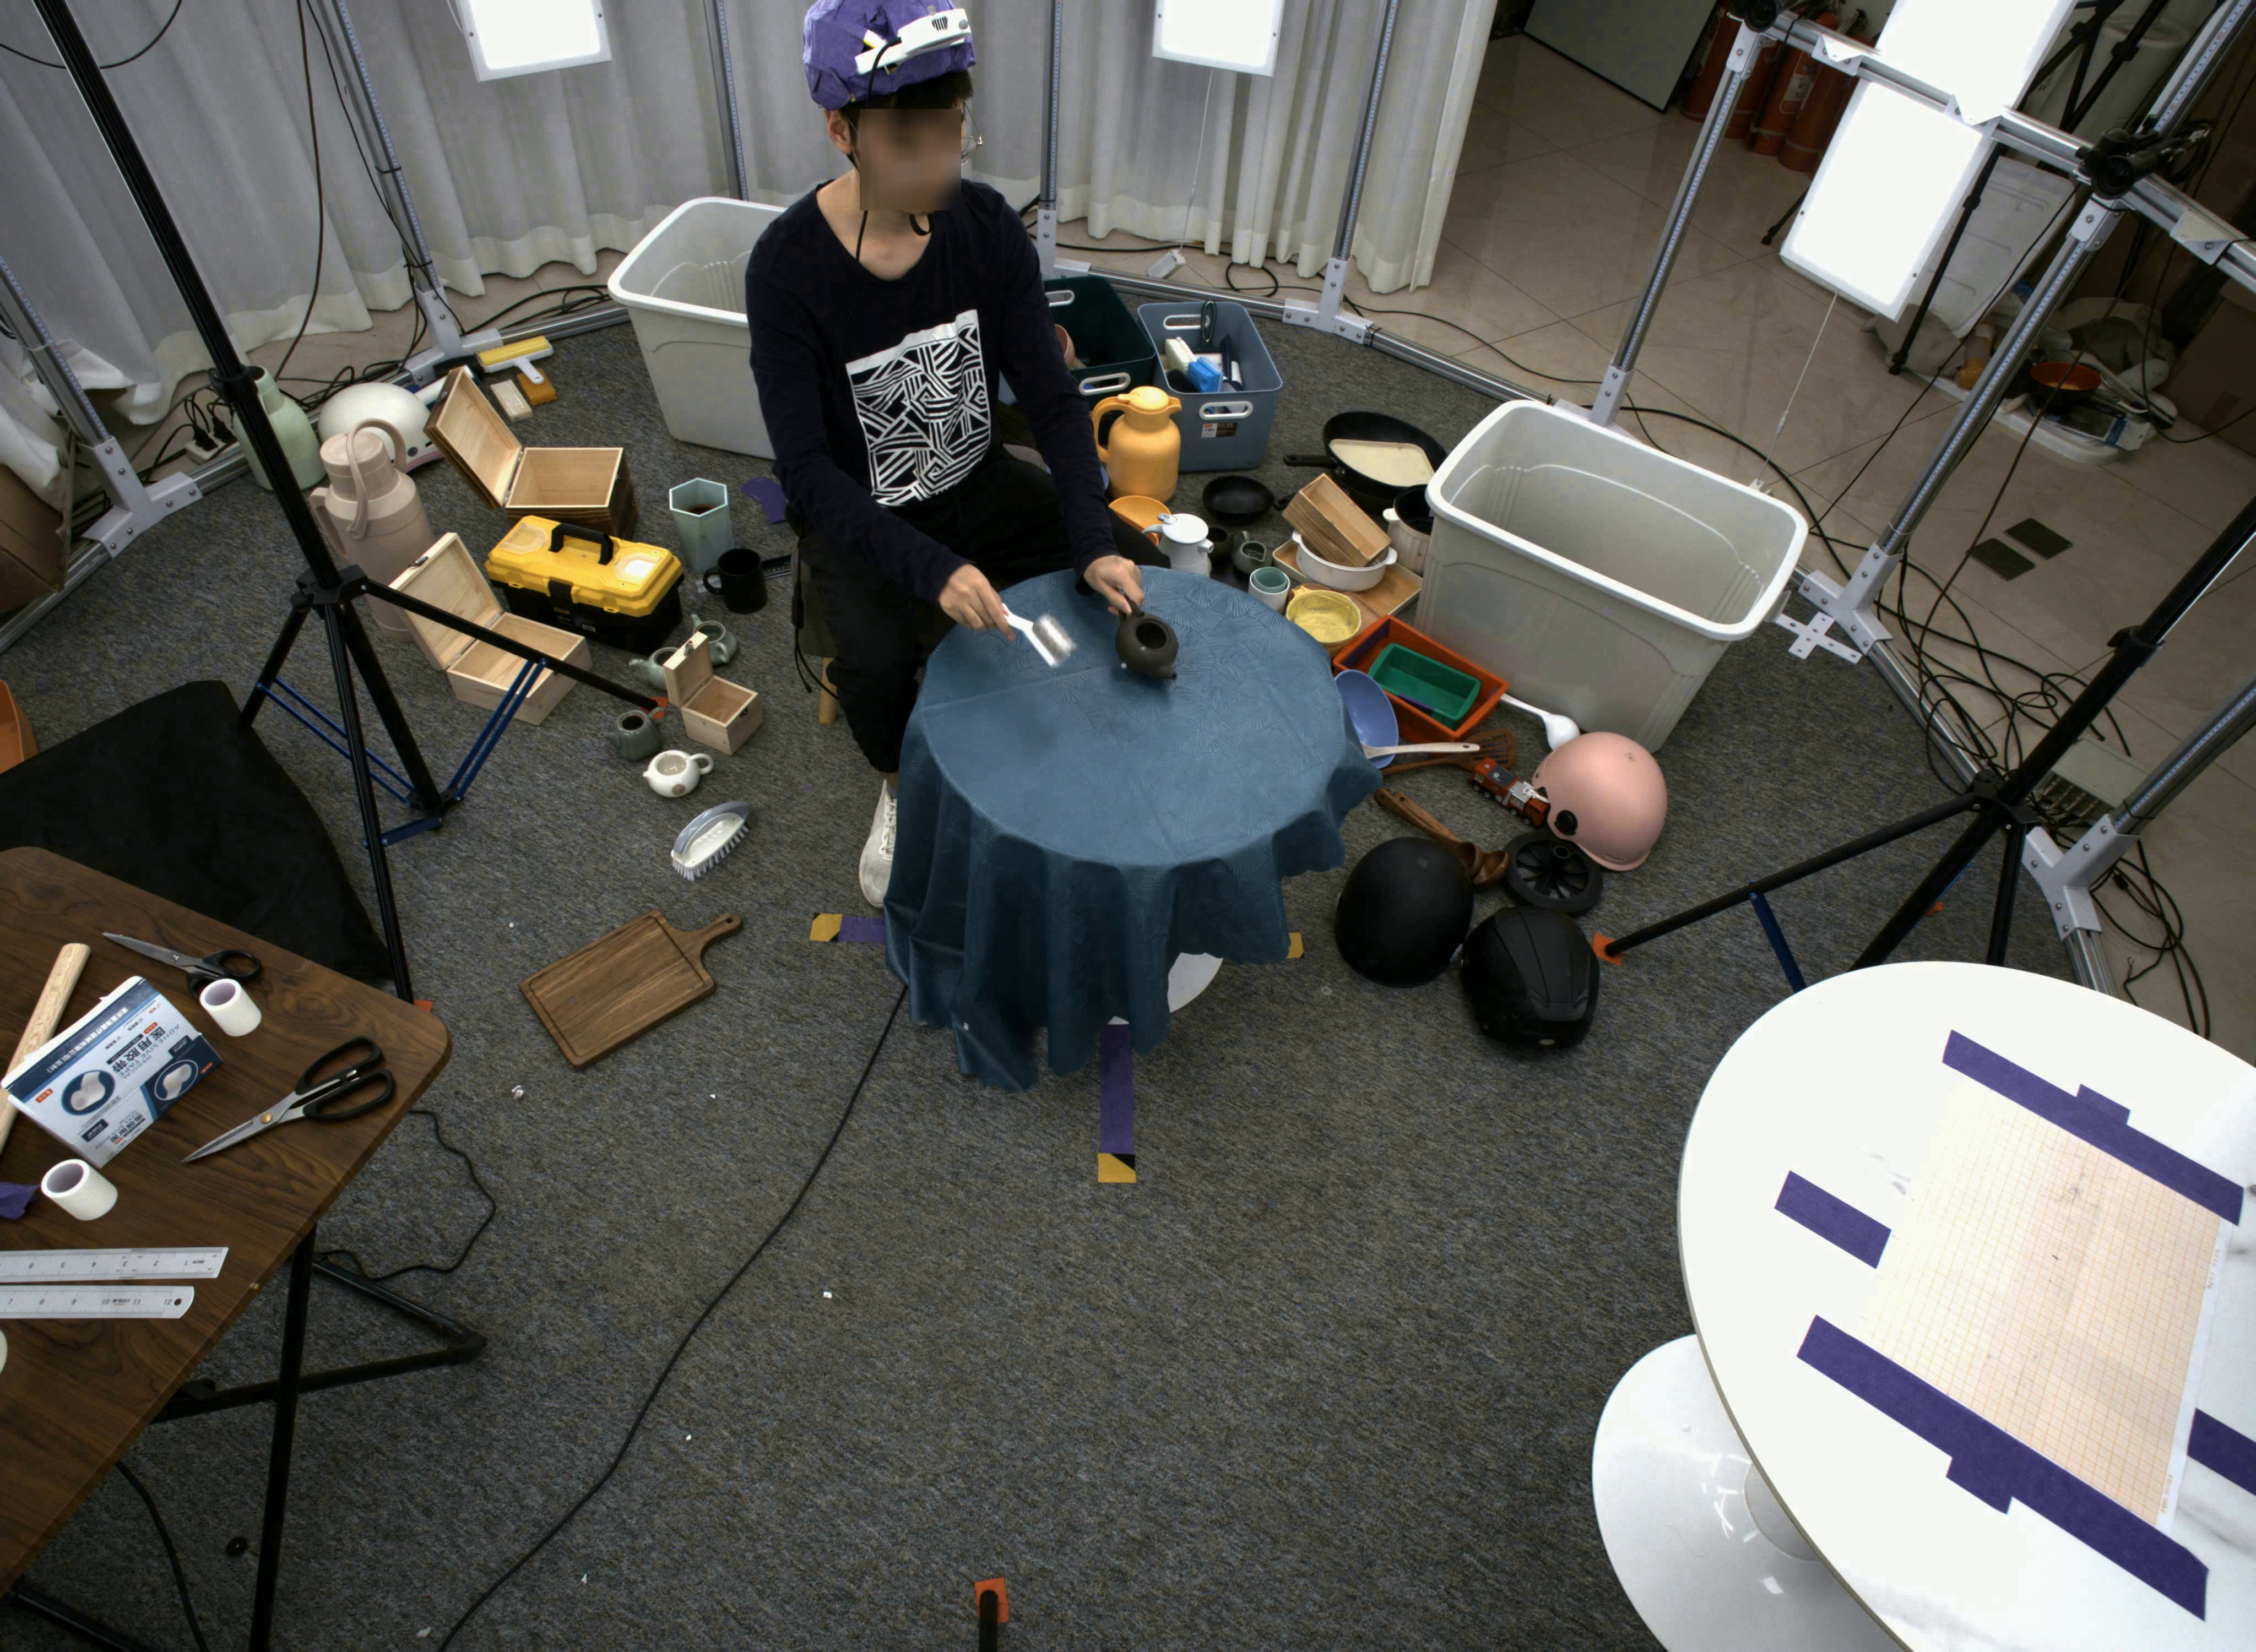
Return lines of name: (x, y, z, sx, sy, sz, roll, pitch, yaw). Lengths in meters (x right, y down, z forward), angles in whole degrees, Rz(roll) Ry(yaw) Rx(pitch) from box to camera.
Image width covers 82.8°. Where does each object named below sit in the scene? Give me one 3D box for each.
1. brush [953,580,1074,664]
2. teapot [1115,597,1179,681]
brush: (-0.163, -0.301, 1.786, 0.034, 0.049, 0.248, -22, 48, -36)
teapot: (0.025, -0.263, 1.850, 0.092, 0.063, 0.157, -16, 67, -29)
